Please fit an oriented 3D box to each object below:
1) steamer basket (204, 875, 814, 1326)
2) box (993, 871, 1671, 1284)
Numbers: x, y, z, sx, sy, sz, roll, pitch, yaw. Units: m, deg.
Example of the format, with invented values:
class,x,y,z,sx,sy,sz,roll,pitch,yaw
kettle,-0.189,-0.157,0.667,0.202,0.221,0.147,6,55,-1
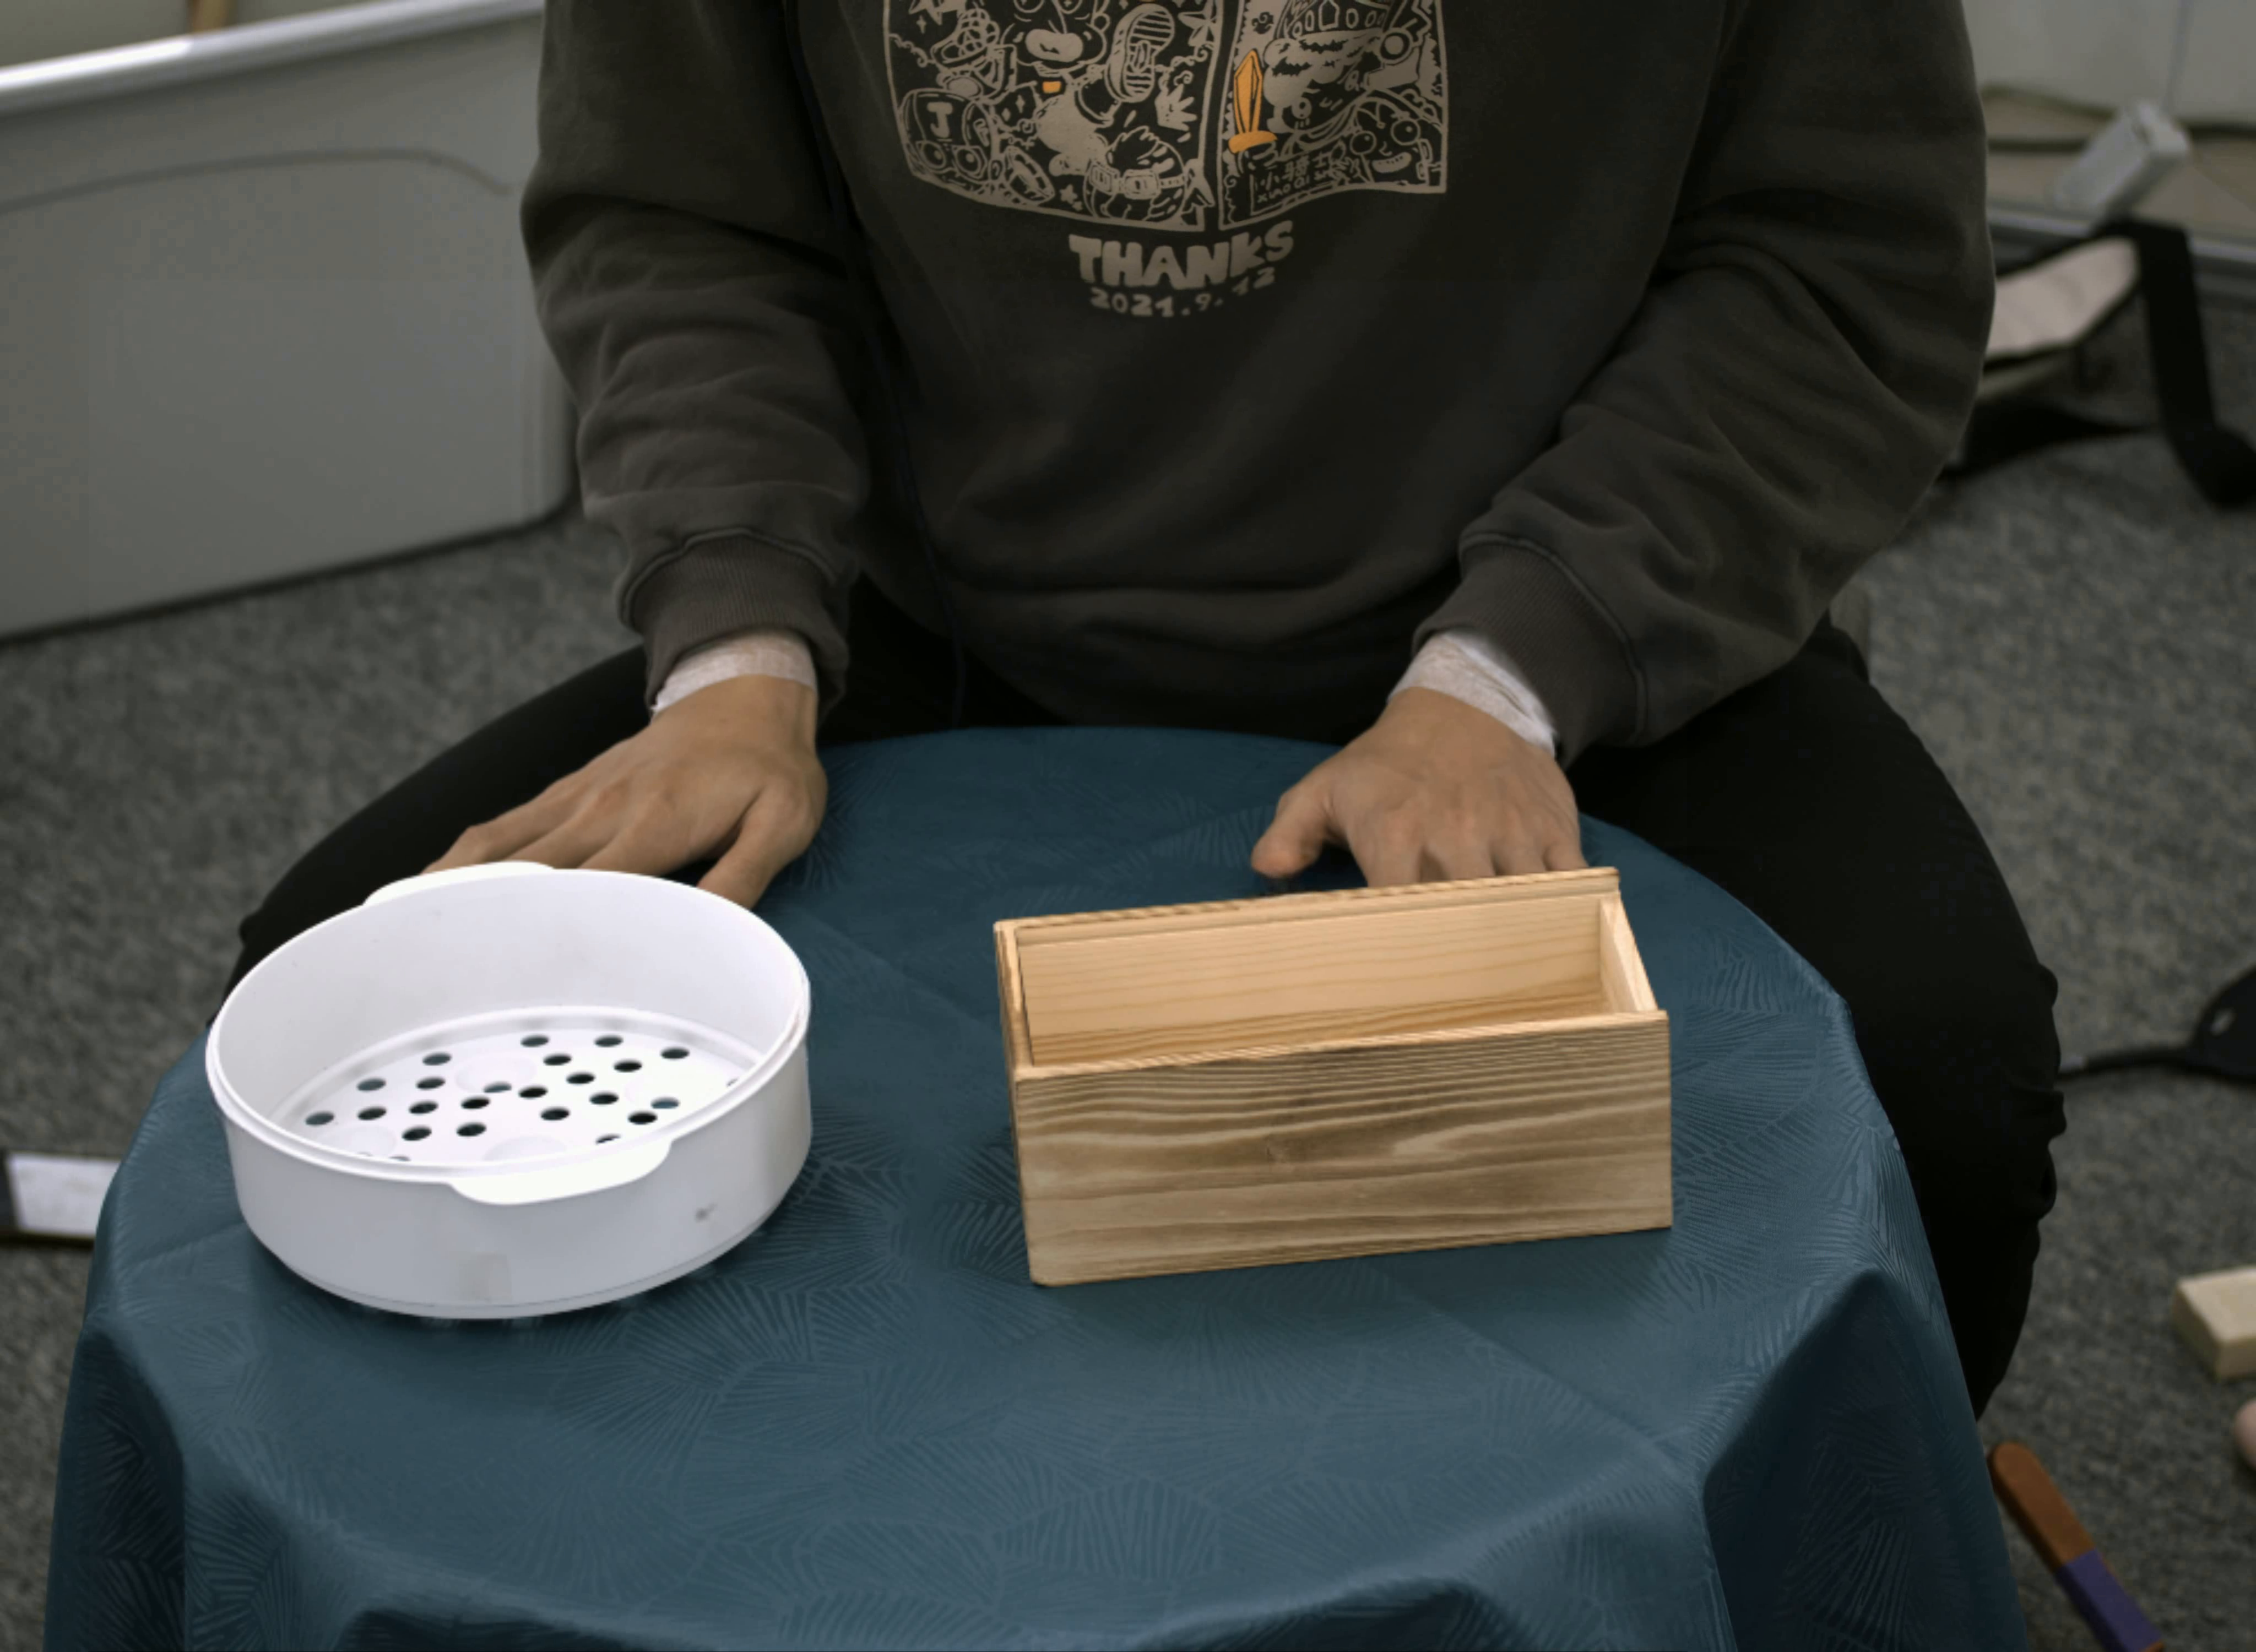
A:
class,x,y,z,sx,sy,sz,roll,pitch,yaw
steamer basket,-0.202,0.093,1.865,0.202,0.068,0.233,-9,27,-13
box,0.065,0.082,1.845,0.211,0.079,0.109,-5,26,-4
